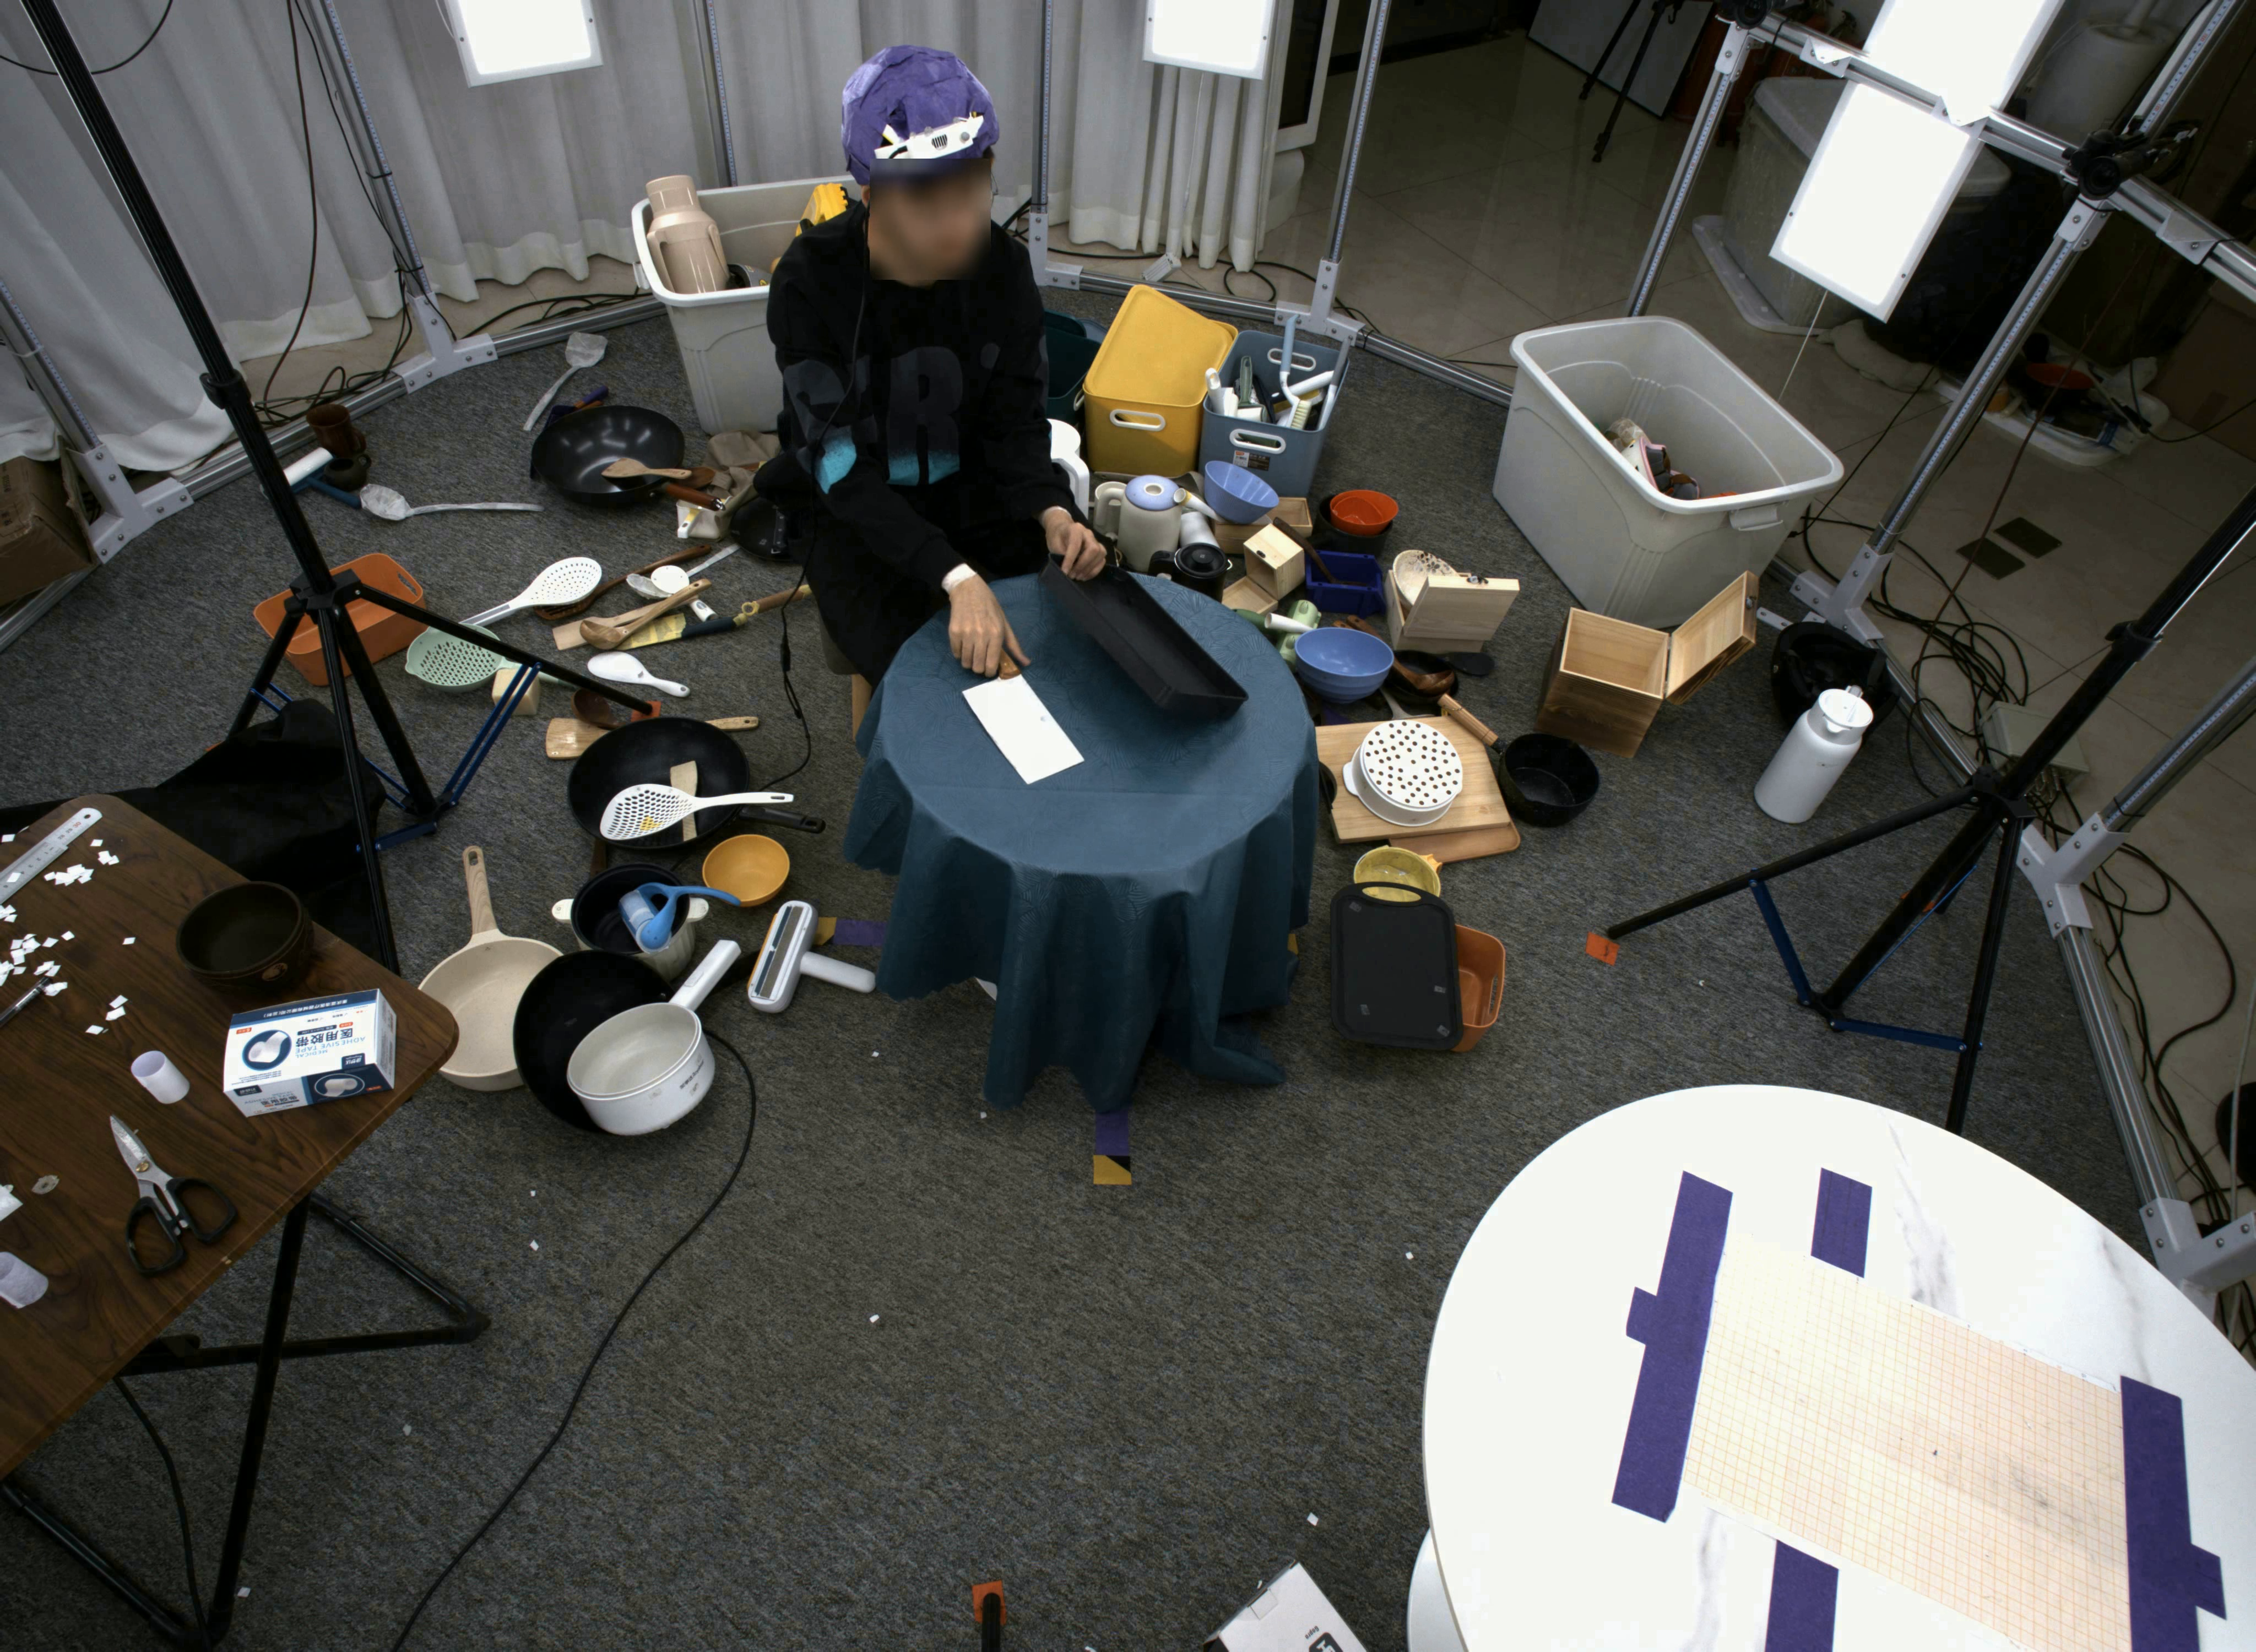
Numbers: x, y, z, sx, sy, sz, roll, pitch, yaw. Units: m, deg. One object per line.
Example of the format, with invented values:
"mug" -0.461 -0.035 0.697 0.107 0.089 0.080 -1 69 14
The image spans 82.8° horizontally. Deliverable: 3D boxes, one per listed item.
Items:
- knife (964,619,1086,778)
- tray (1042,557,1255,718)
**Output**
"knife" -0.170 -0.180 1.803 0.093 0.020 0.312 -23 57 -21
"tray" 0.027 -0.266 1.812 0.183 0.036 0.323 -3 44 -51
